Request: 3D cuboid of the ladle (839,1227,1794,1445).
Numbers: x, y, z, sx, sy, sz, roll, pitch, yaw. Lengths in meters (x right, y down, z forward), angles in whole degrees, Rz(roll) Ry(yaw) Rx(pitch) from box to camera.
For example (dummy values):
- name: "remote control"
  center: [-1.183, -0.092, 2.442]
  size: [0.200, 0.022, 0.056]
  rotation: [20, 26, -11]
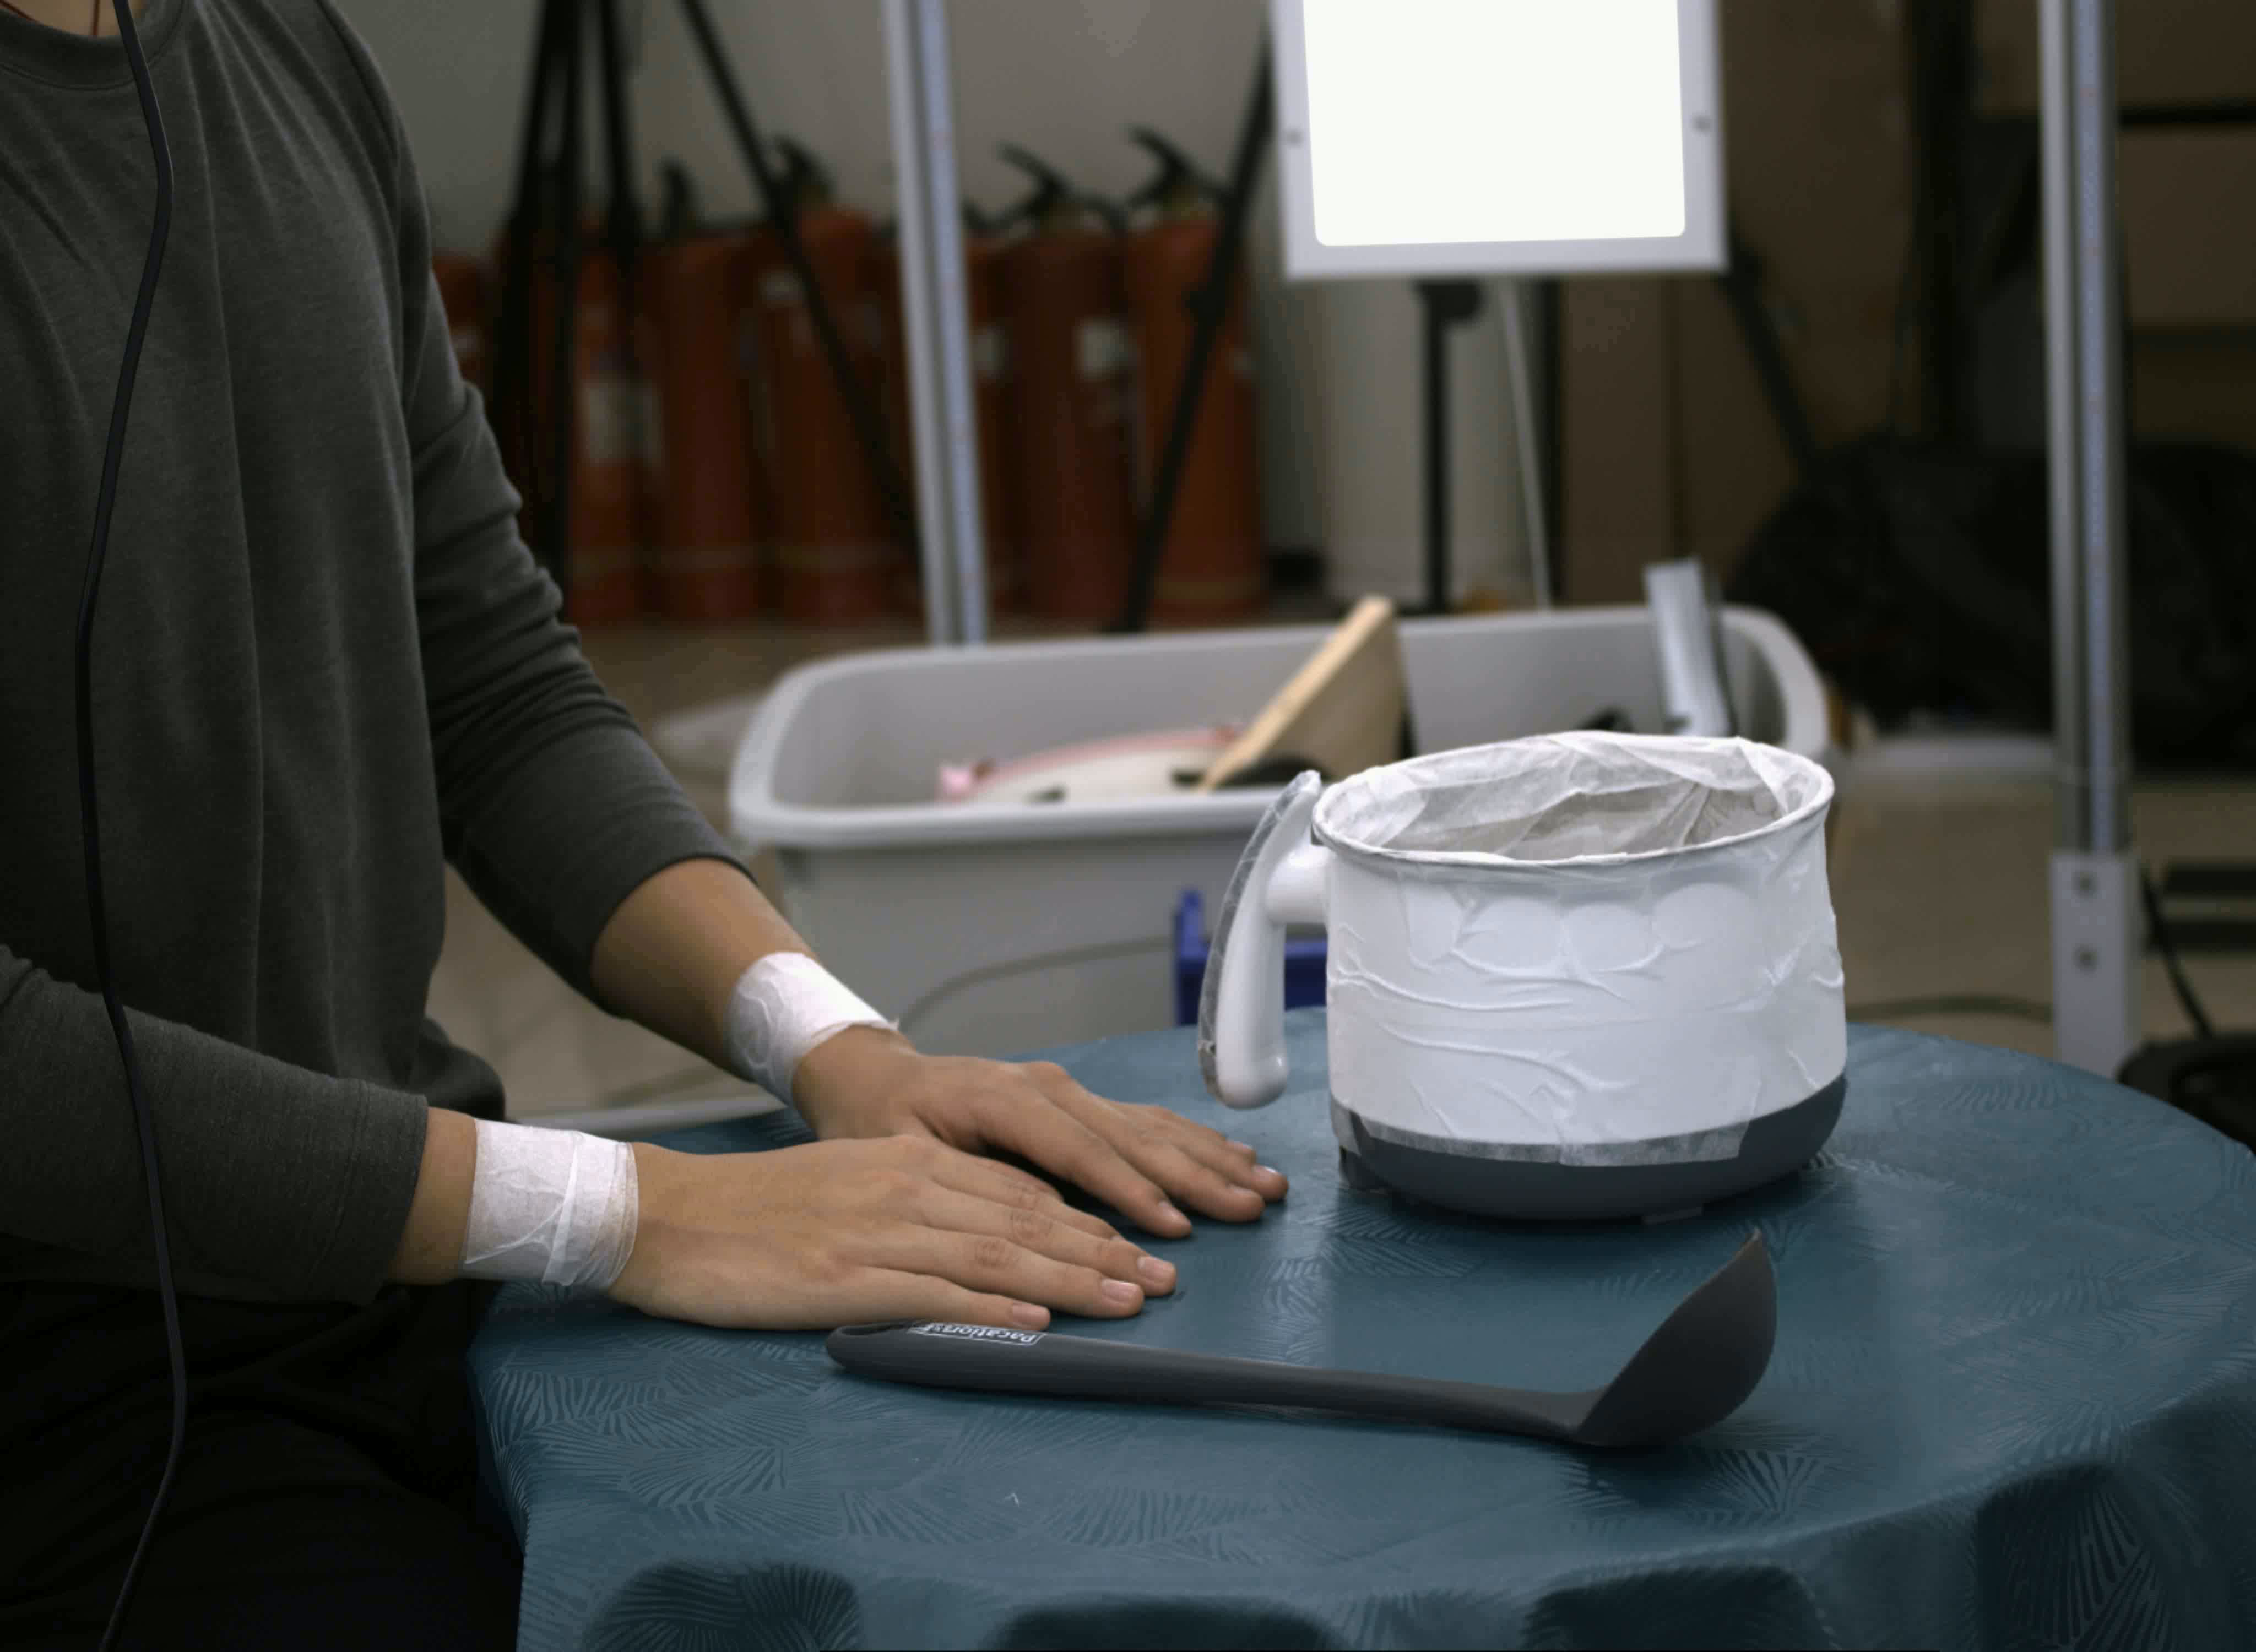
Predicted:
- name: "ladle"
  center: [0.050, 0.148, 1.664]
  size: [0.319, 0.064, 0.084]
  rotation: [2, 11, 28]

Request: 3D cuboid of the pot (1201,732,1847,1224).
- name: "pot"
  center: [0.131, 0.049, 1.881]
  size: [0.238, 0.137, 0.175]
  rotation: [2, 15, 28]
